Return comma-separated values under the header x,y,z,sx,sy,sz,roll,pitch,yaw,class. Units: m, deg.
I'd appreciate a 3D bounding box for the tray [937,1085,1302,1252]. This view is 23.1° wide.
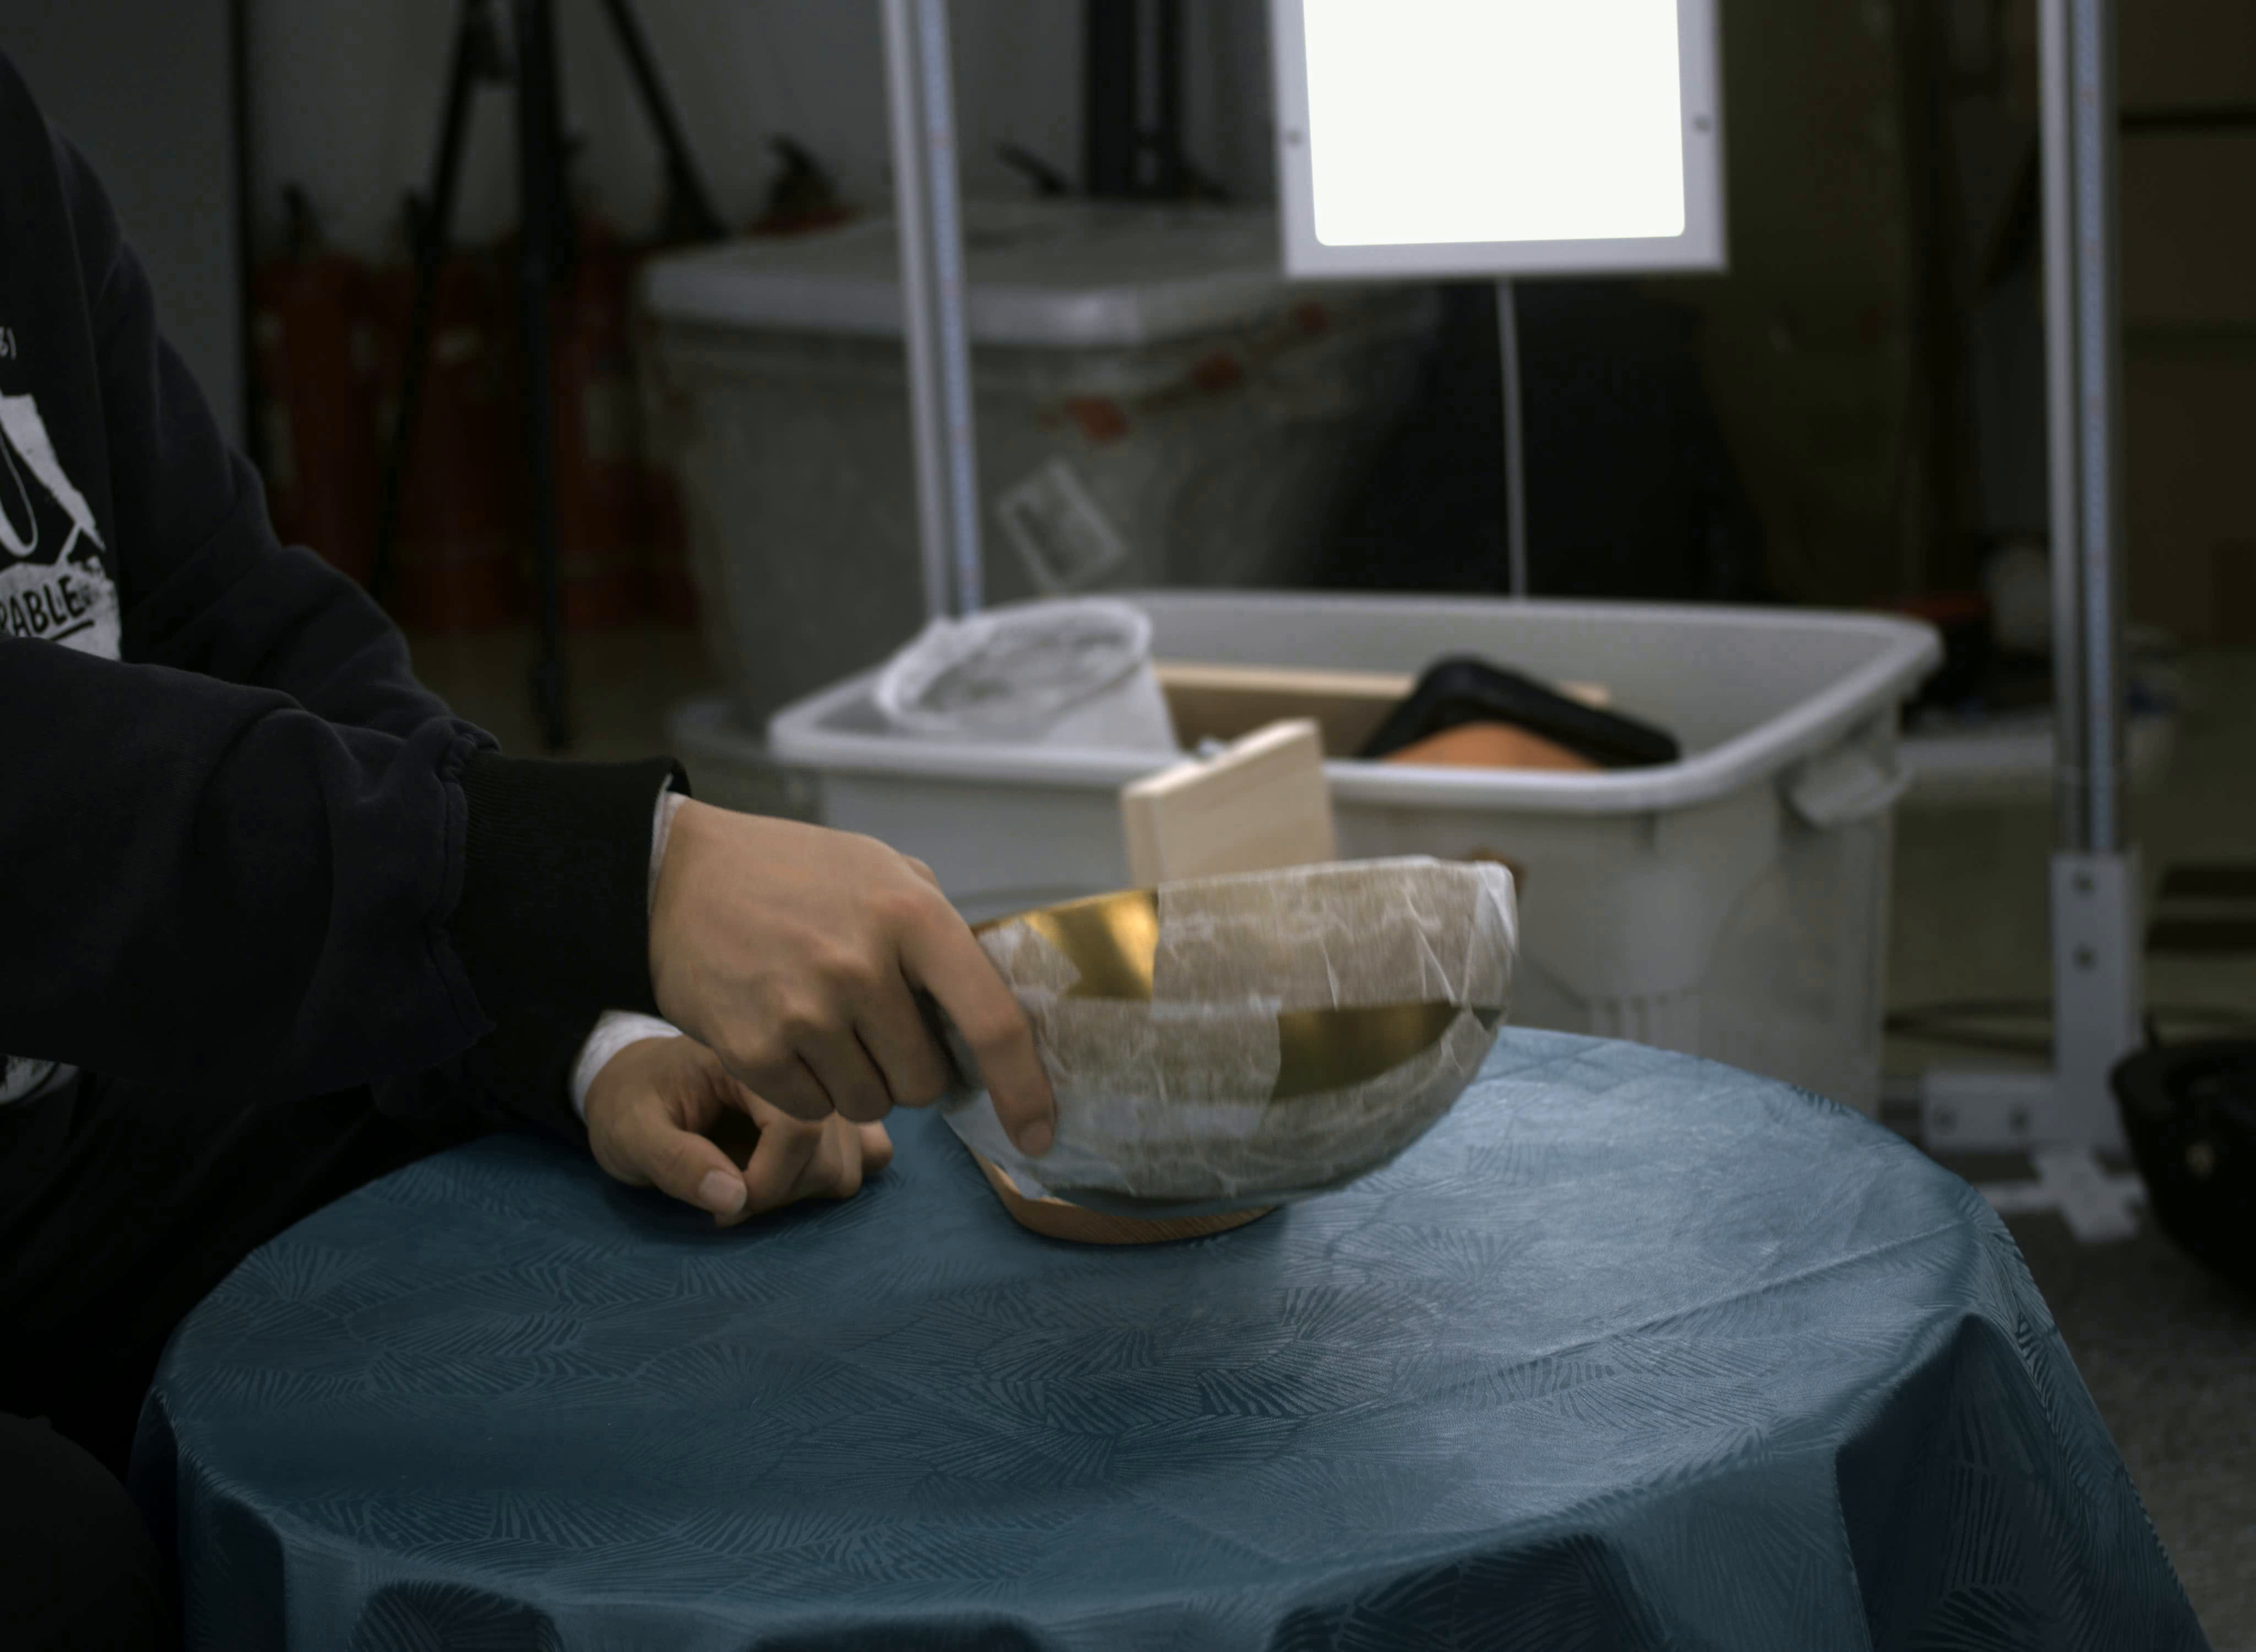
x,y,z,sx,sy,sz,roll,pitch,yaw,class
-0.005,0.108,1.943,0.100,0.020,0.233,-10,16,-10,tray

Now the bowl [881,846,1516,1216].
x,y,z,sx,sy,sz,roll,pitch,yaw,class
0.026,0.071,1.723,0.214,0.095,0.215,-8,-8,-3,bowl
